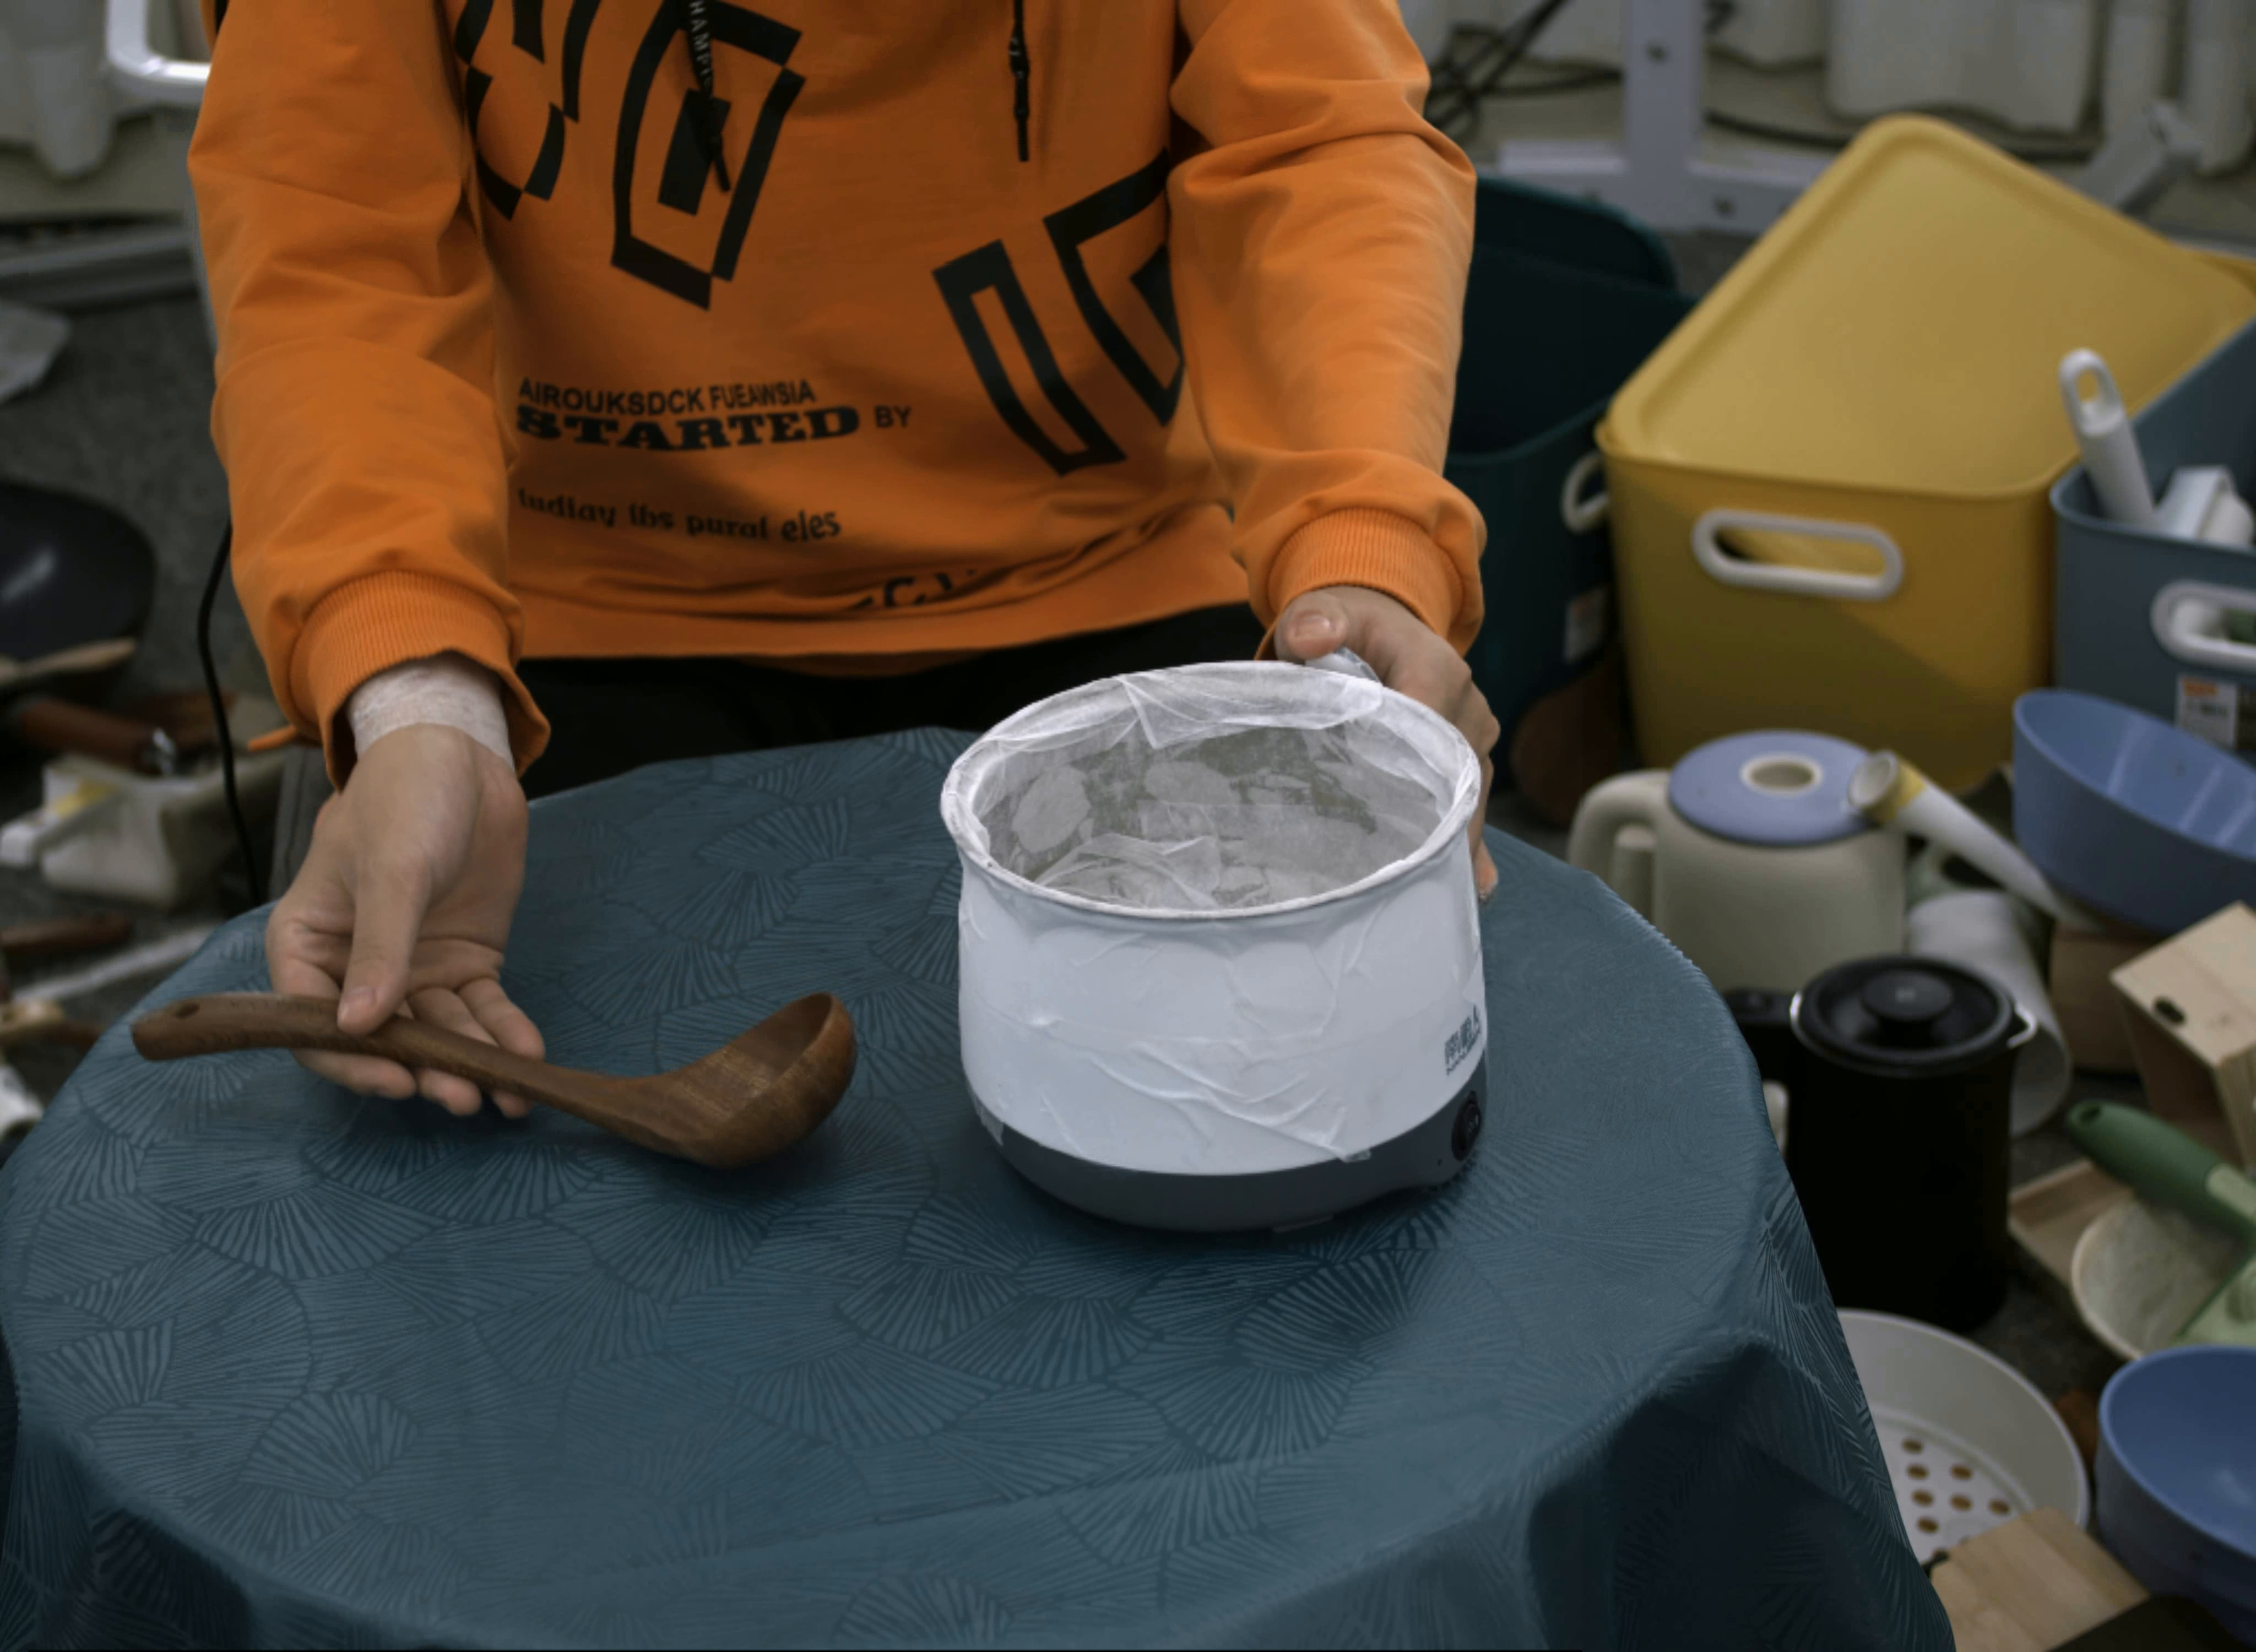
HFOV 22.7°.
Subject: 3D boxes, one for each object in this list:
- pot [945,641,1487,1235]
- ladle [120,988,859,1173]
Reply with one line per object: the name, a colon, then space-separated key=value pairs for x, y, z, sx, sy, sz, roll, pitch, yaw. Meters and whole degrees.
pot: x=0.042 y=0.030 z=1.888 sx=0.177 sy=0.135 sz=0.238 roll=9 pitch=30 yaw=21
ladle: x=-0.217 y=0.070 z=1.897 sx=0.259 sy=0.064 sz=0.078 roll=11 pitch=26 yaw=10
